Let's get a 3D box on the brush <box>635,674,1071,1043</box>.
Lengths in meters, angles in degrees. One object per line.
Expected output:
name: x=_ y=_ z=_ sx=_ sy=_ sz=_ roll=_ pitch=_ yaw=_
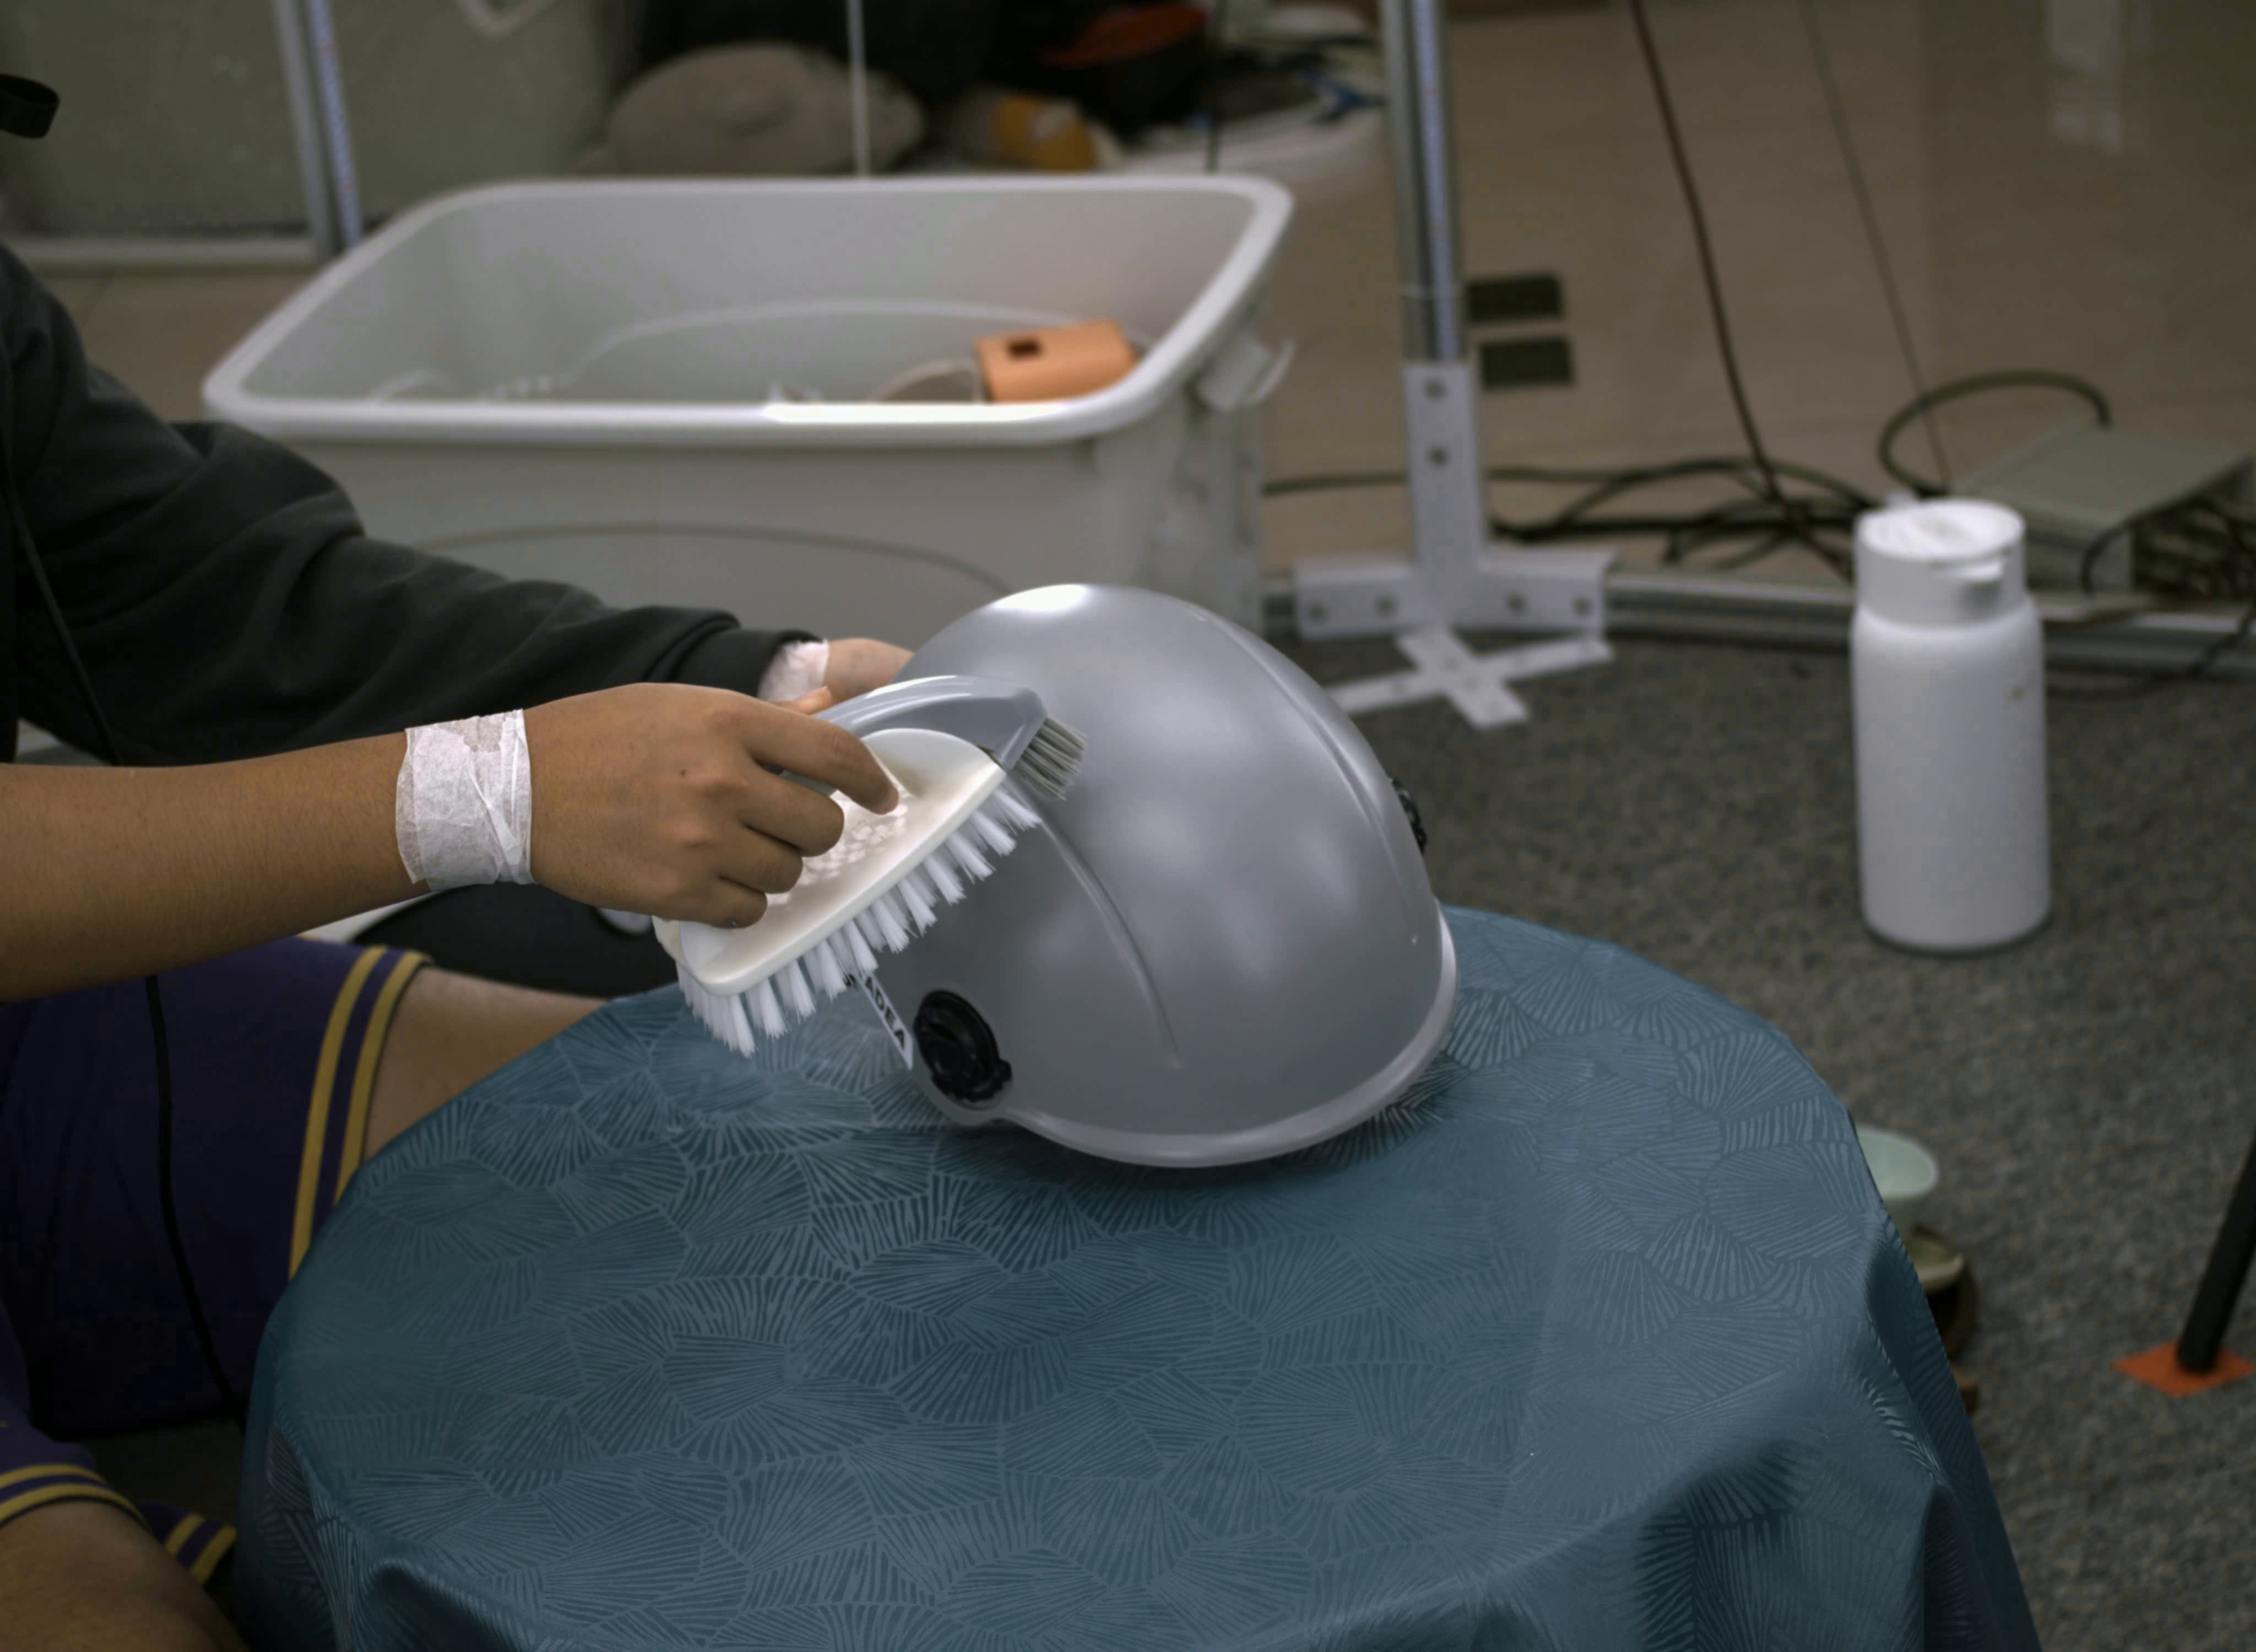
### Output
brush: x=-0.102 y=-0.007 z=2.054 sx=0.175 sy=0.096 sz=0.060 roll=-34 pitch=45 yaw=-12

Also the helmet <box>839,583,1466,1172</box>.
helmet: x=-0.001 y=0.000 z=2.201 sx=0.230 sy=0.172 sz=0.273 roll=-28 pitch=37 yaw=-23
